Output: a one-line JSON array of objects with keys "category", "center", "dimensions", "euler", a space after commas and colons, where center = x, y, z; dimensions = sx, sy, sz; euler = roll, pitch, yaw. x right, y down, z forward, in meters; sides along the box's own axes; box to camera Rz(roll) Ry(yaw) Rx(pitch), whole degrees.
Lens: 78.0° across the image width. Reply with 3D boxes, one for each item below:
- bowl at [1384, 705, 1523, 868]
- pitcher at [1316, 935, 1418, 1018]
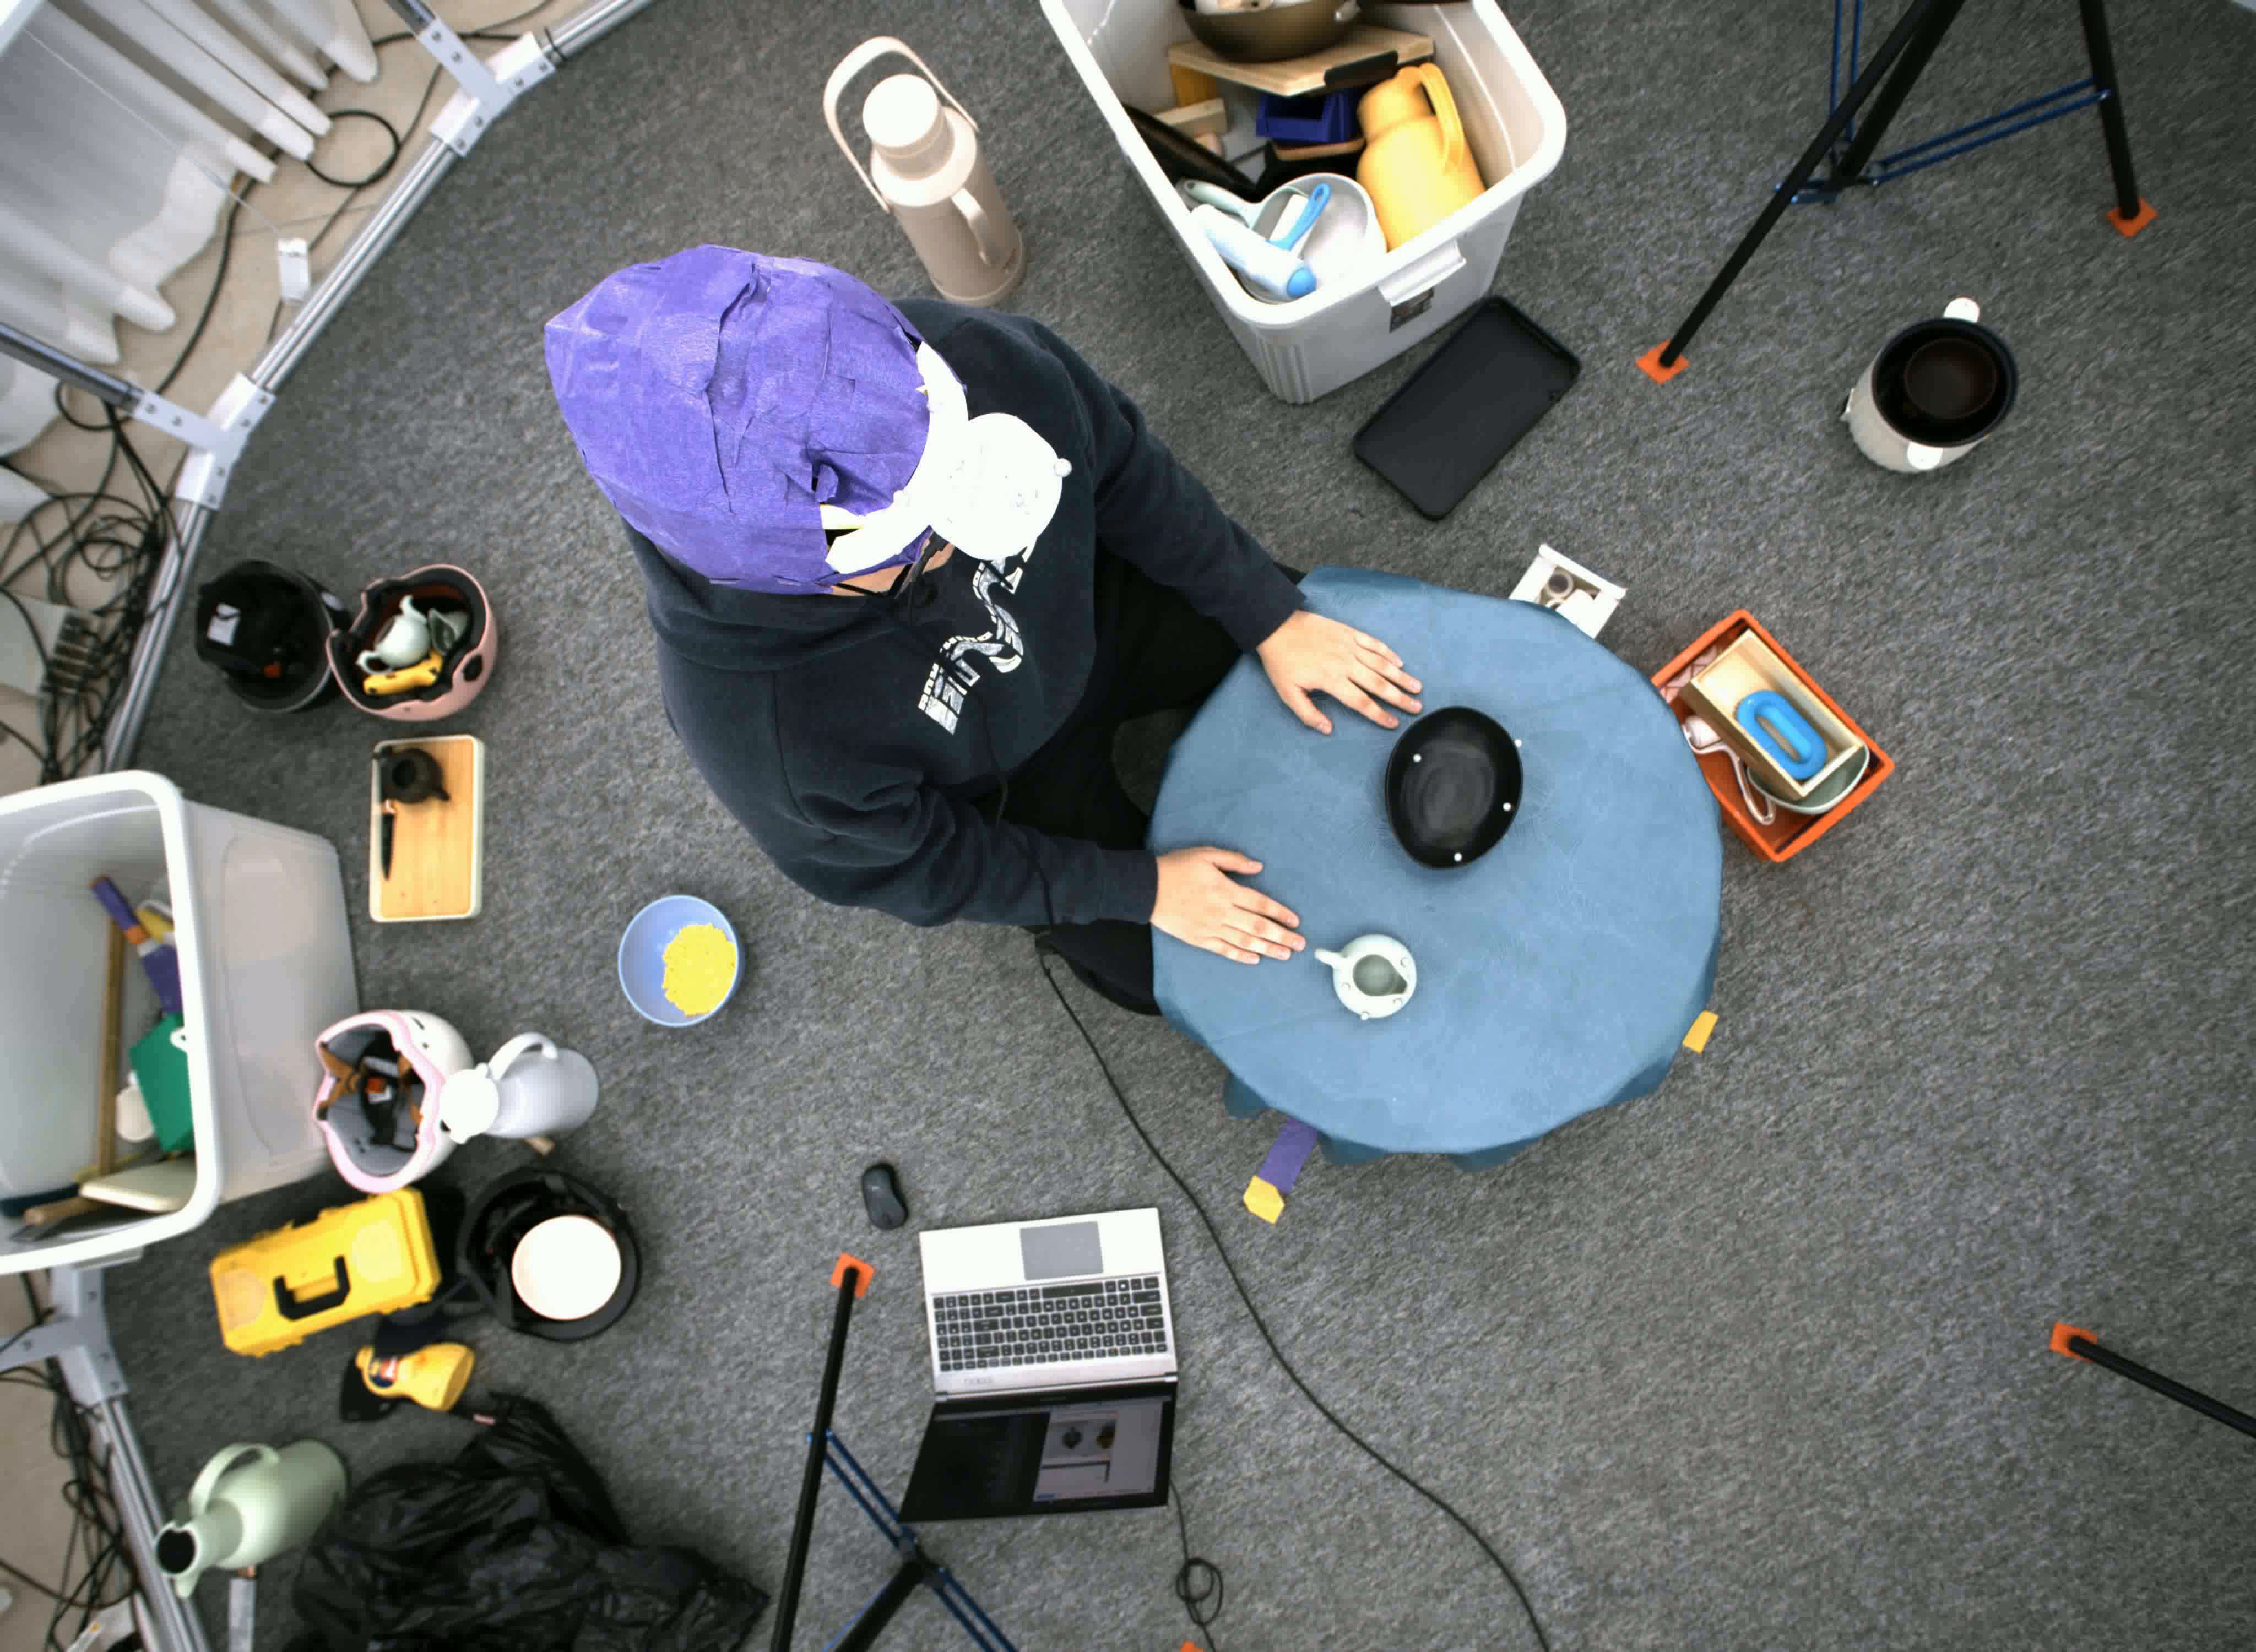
[{"category": "bowl", "center": [0.335, -0.039, 1.423], "dimensions": [0.137, 0.066, 0.170], "euler": [12, 89, 12]}, {"category": "pitcher", "center": [0.246, 0.150, 1.433], "dimensions": [0.108, 0.060, 0.086], "euler": [19, 88, 14]}]
